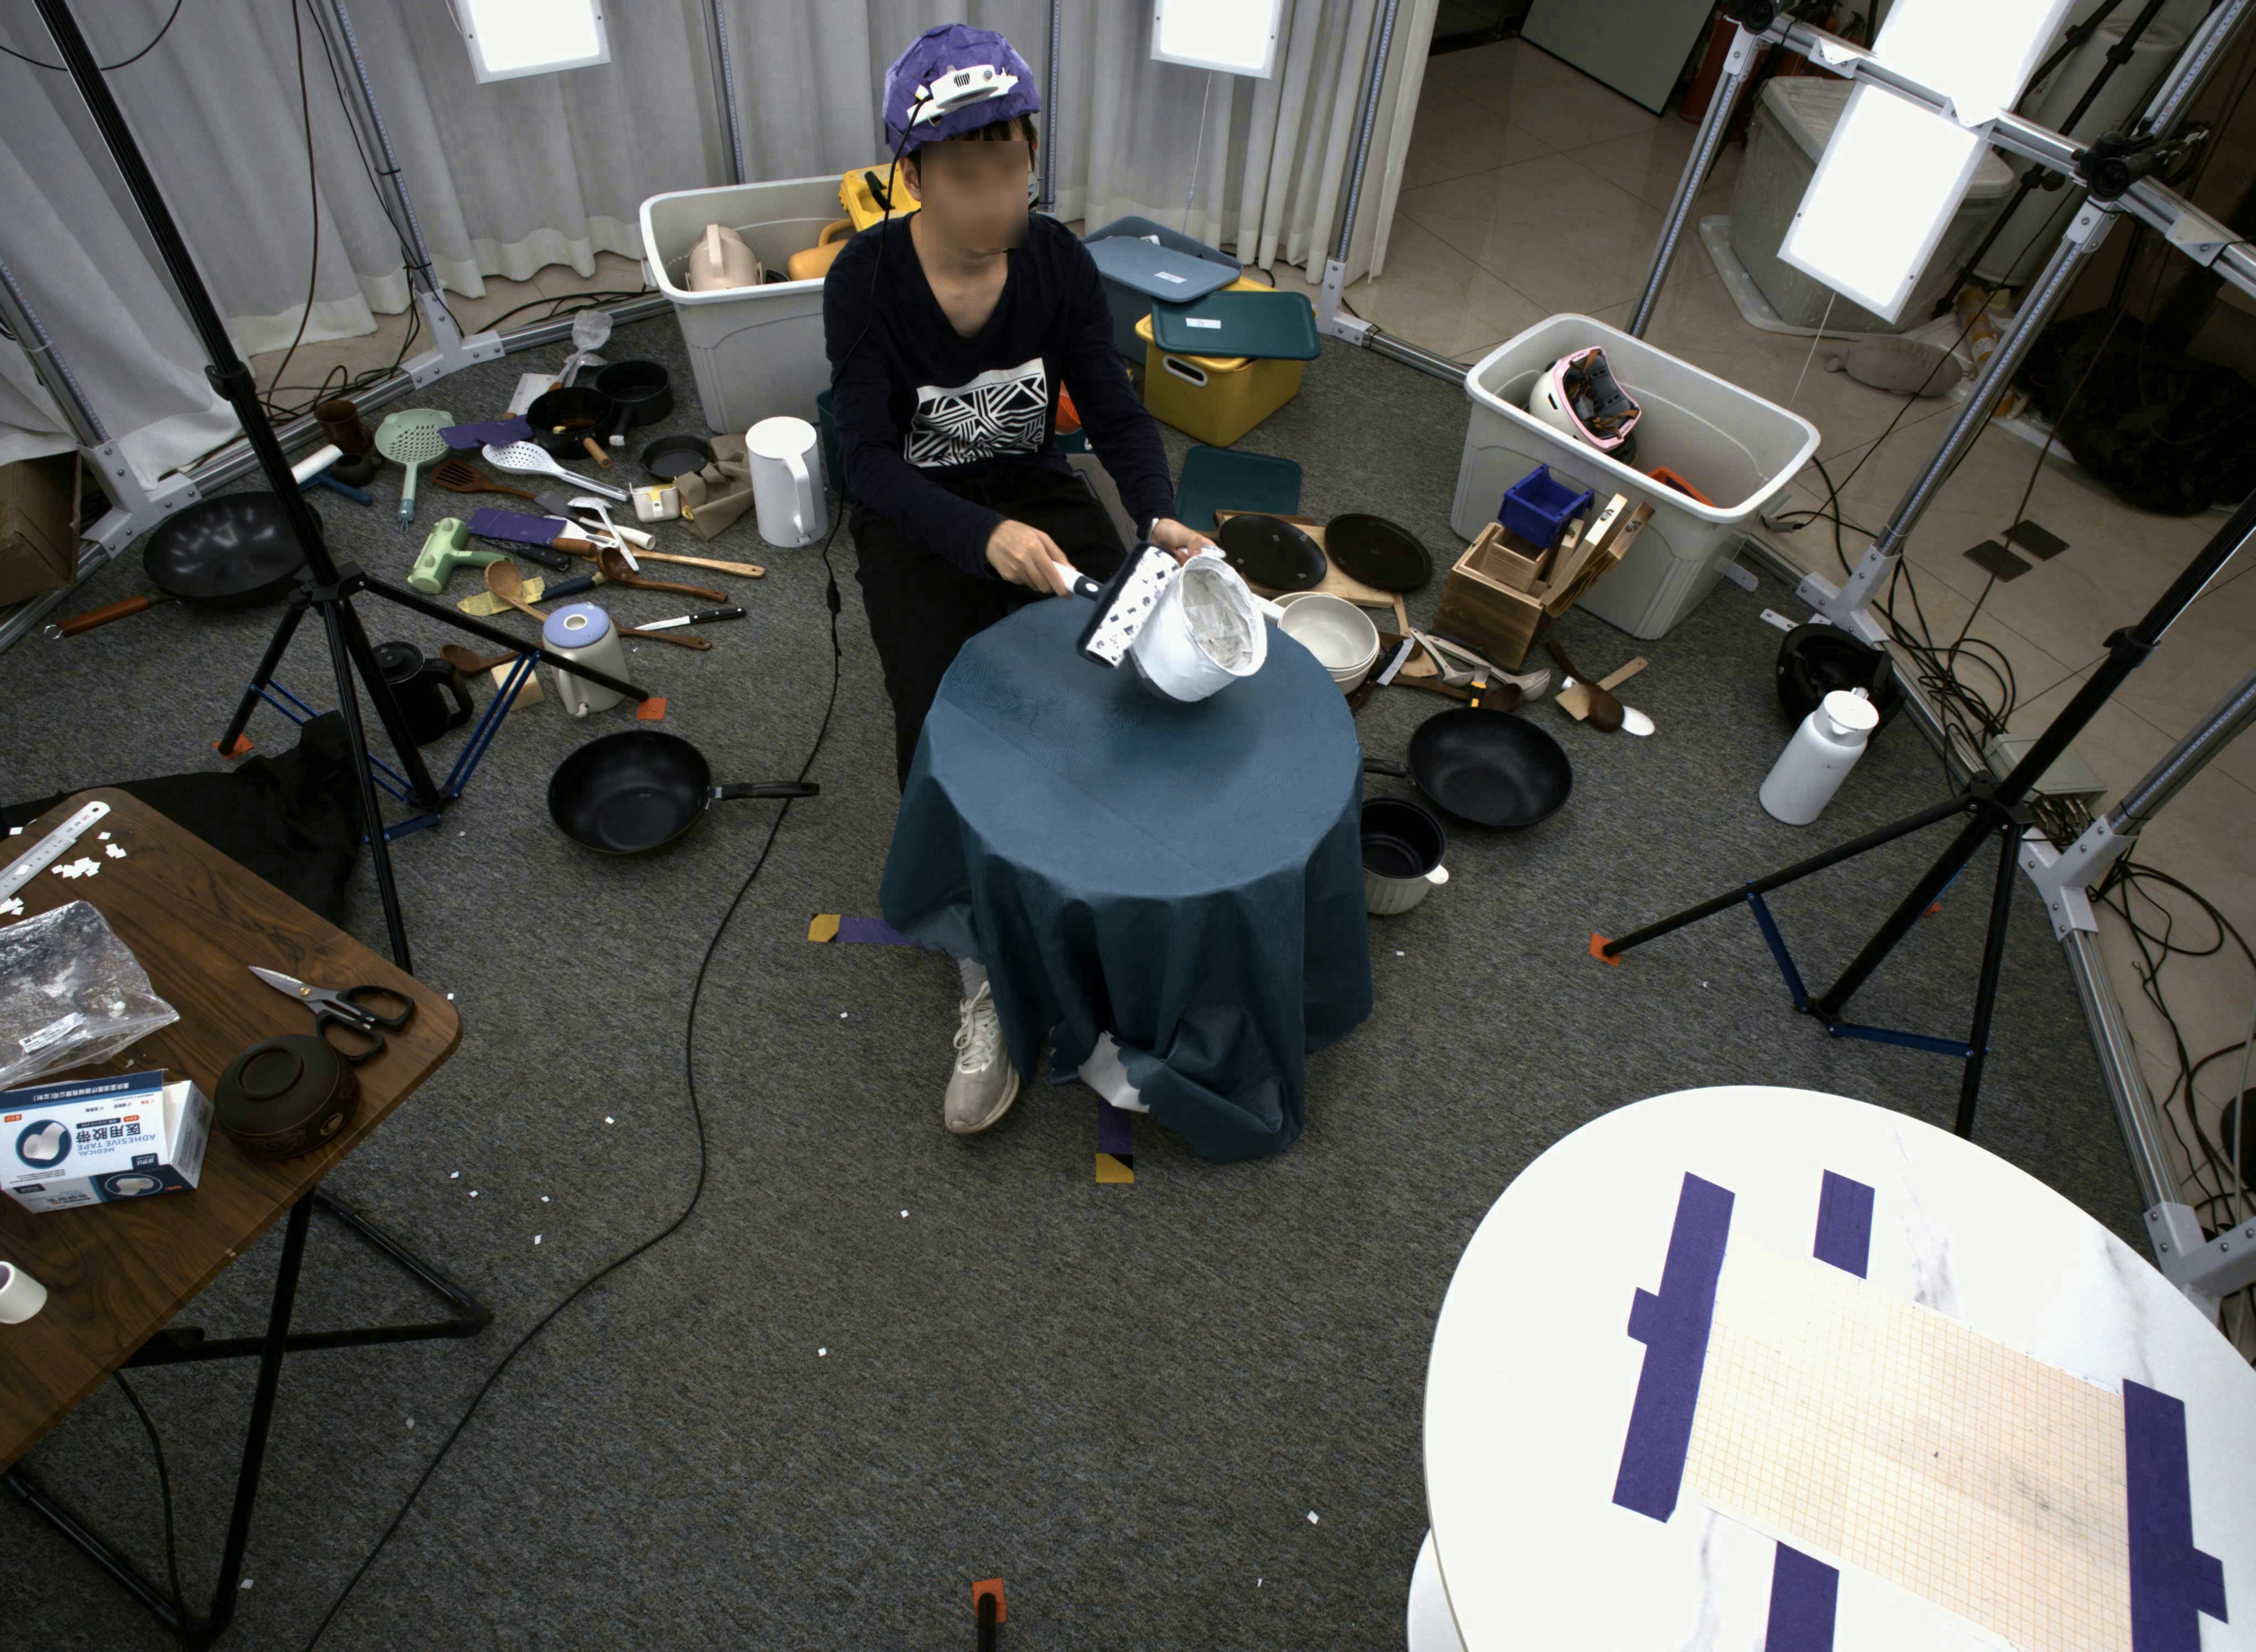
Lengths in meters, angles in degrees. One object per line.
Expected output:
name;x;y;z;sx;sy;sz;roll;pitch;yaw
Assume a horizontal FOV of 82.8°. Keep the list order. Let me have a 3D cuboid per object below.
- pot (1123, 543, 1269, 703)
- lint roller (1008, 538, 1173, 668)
pot;0.089;-0.292;1.776;0.176;0.136;0.238;22;59;-42
lint roller;-0.076;-0.328;1.728;0.250;0.049;0.177;27;85;32
